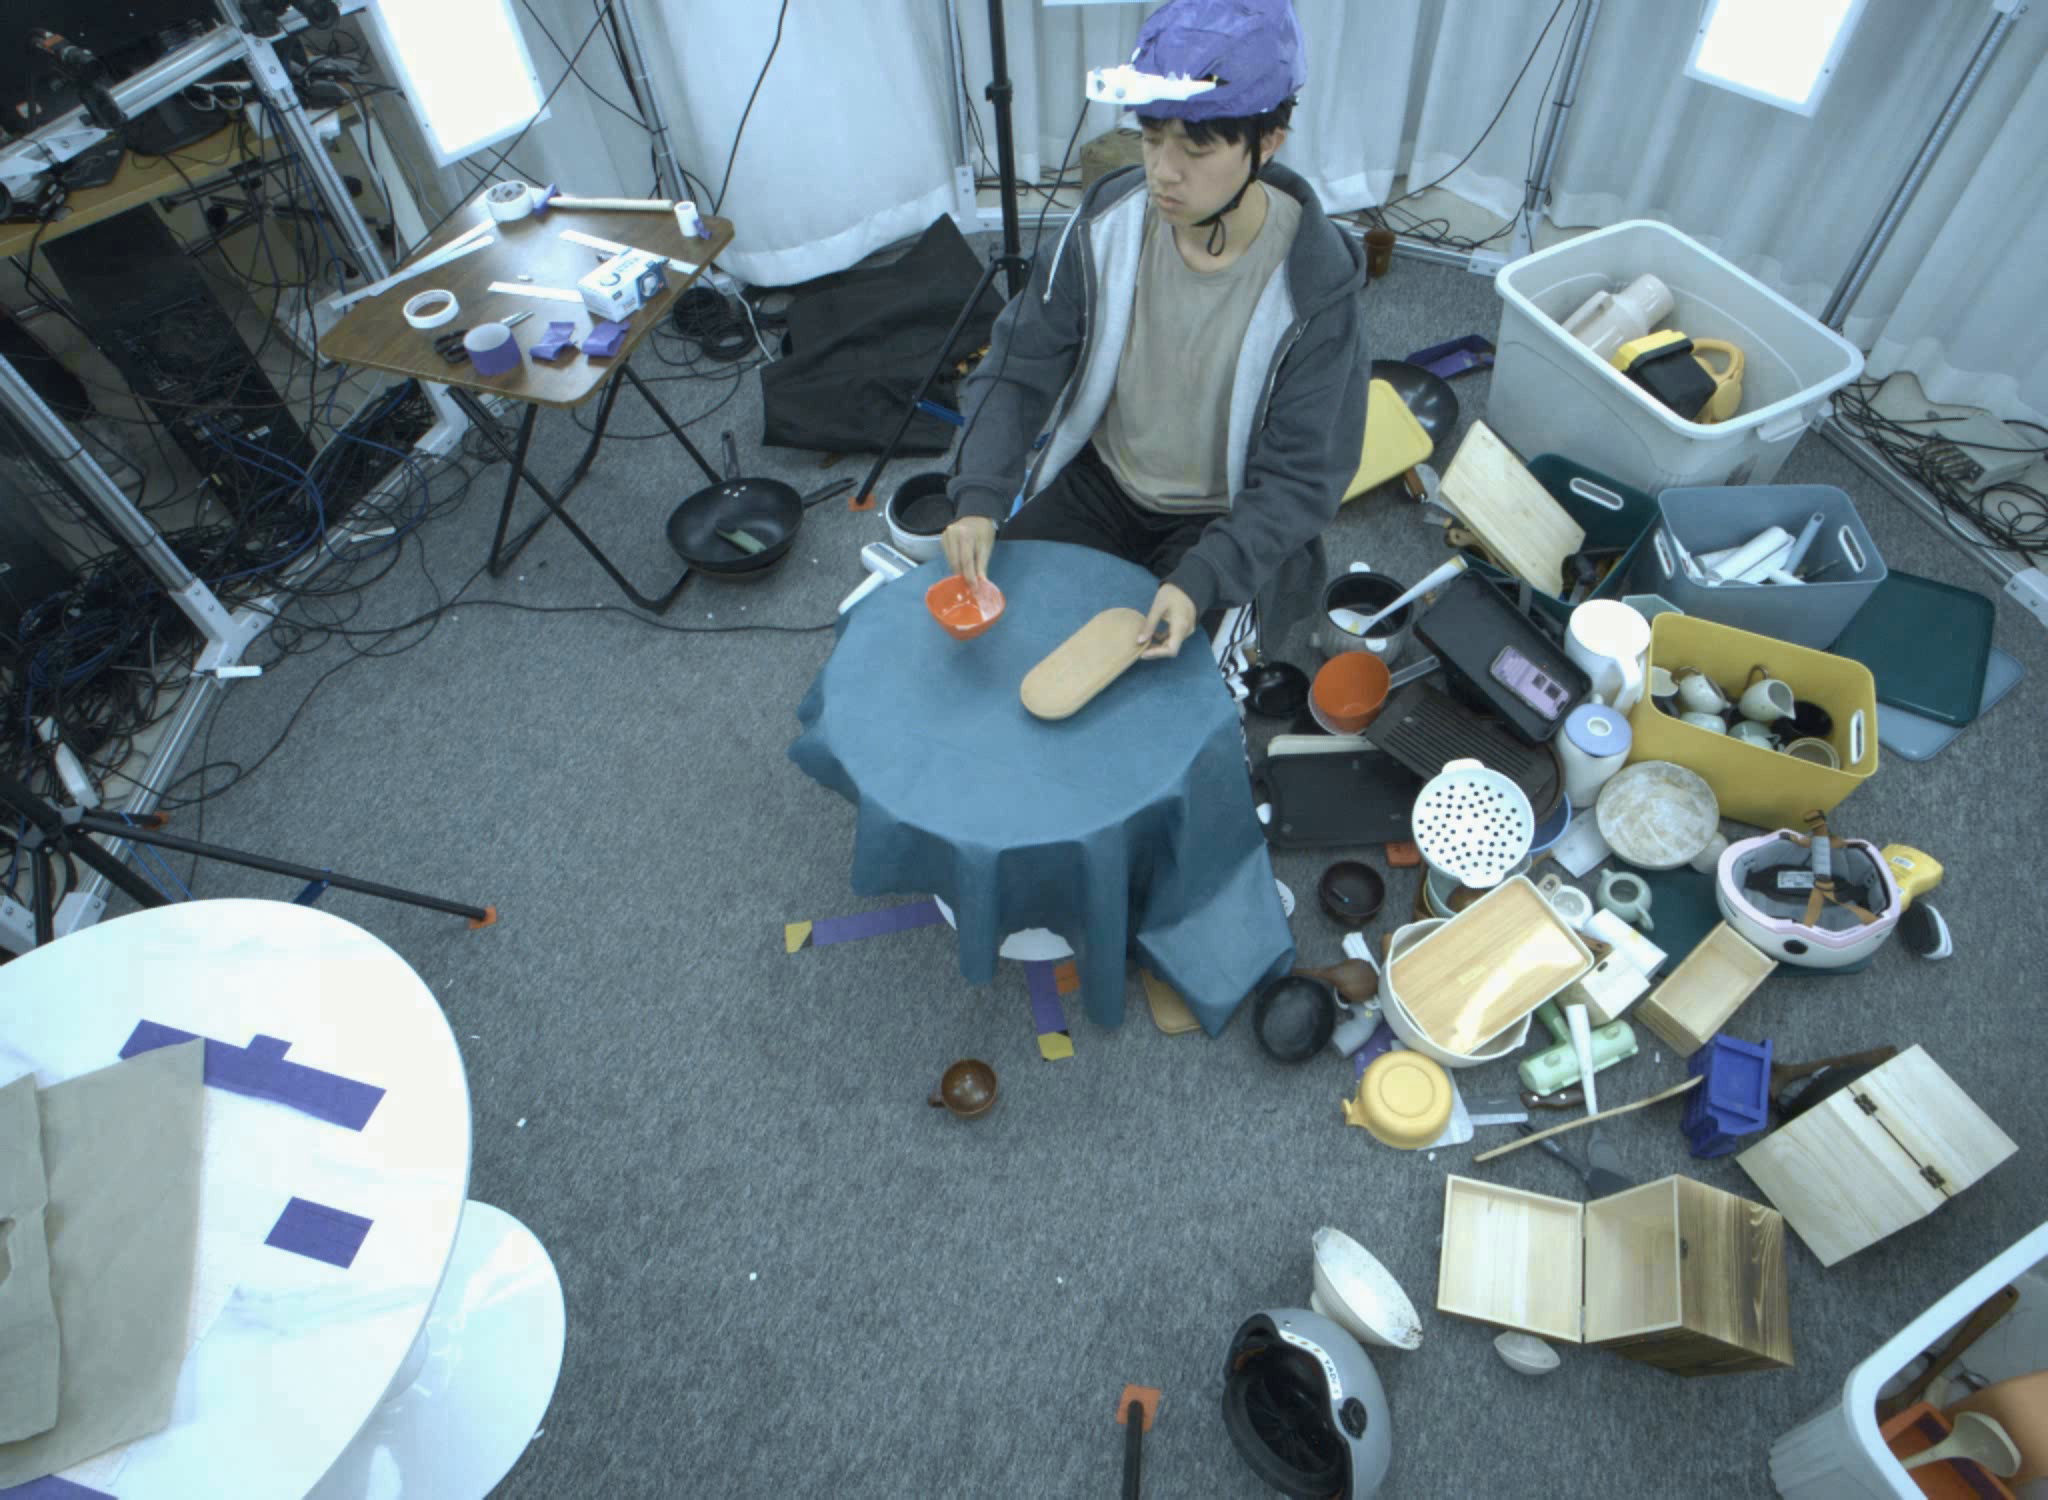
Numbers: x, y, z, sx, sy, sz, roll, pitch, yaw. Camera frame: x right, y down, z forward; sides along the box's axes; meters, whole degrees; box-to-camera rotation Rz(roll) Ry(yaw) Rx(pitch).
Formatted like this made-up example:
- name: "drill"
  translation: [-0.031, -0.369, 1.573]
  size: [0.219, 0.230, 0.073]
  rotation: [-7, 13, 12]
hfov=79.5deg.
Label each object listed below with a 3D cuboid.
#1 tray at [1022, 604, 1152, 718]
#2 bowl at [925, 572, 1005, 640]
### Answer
- name: "tray"
  translation: [0.095, -0.133, 1.836]
  size: [0.232, 0.020, 0.100]
  rotation: [-42, 62, -16]
- name: "bowl"
  translation: [-0.088, -0.208, 1.826]
  size: [0.119, 0.052, 0.117]
  rotation: [3, 49, -2]
